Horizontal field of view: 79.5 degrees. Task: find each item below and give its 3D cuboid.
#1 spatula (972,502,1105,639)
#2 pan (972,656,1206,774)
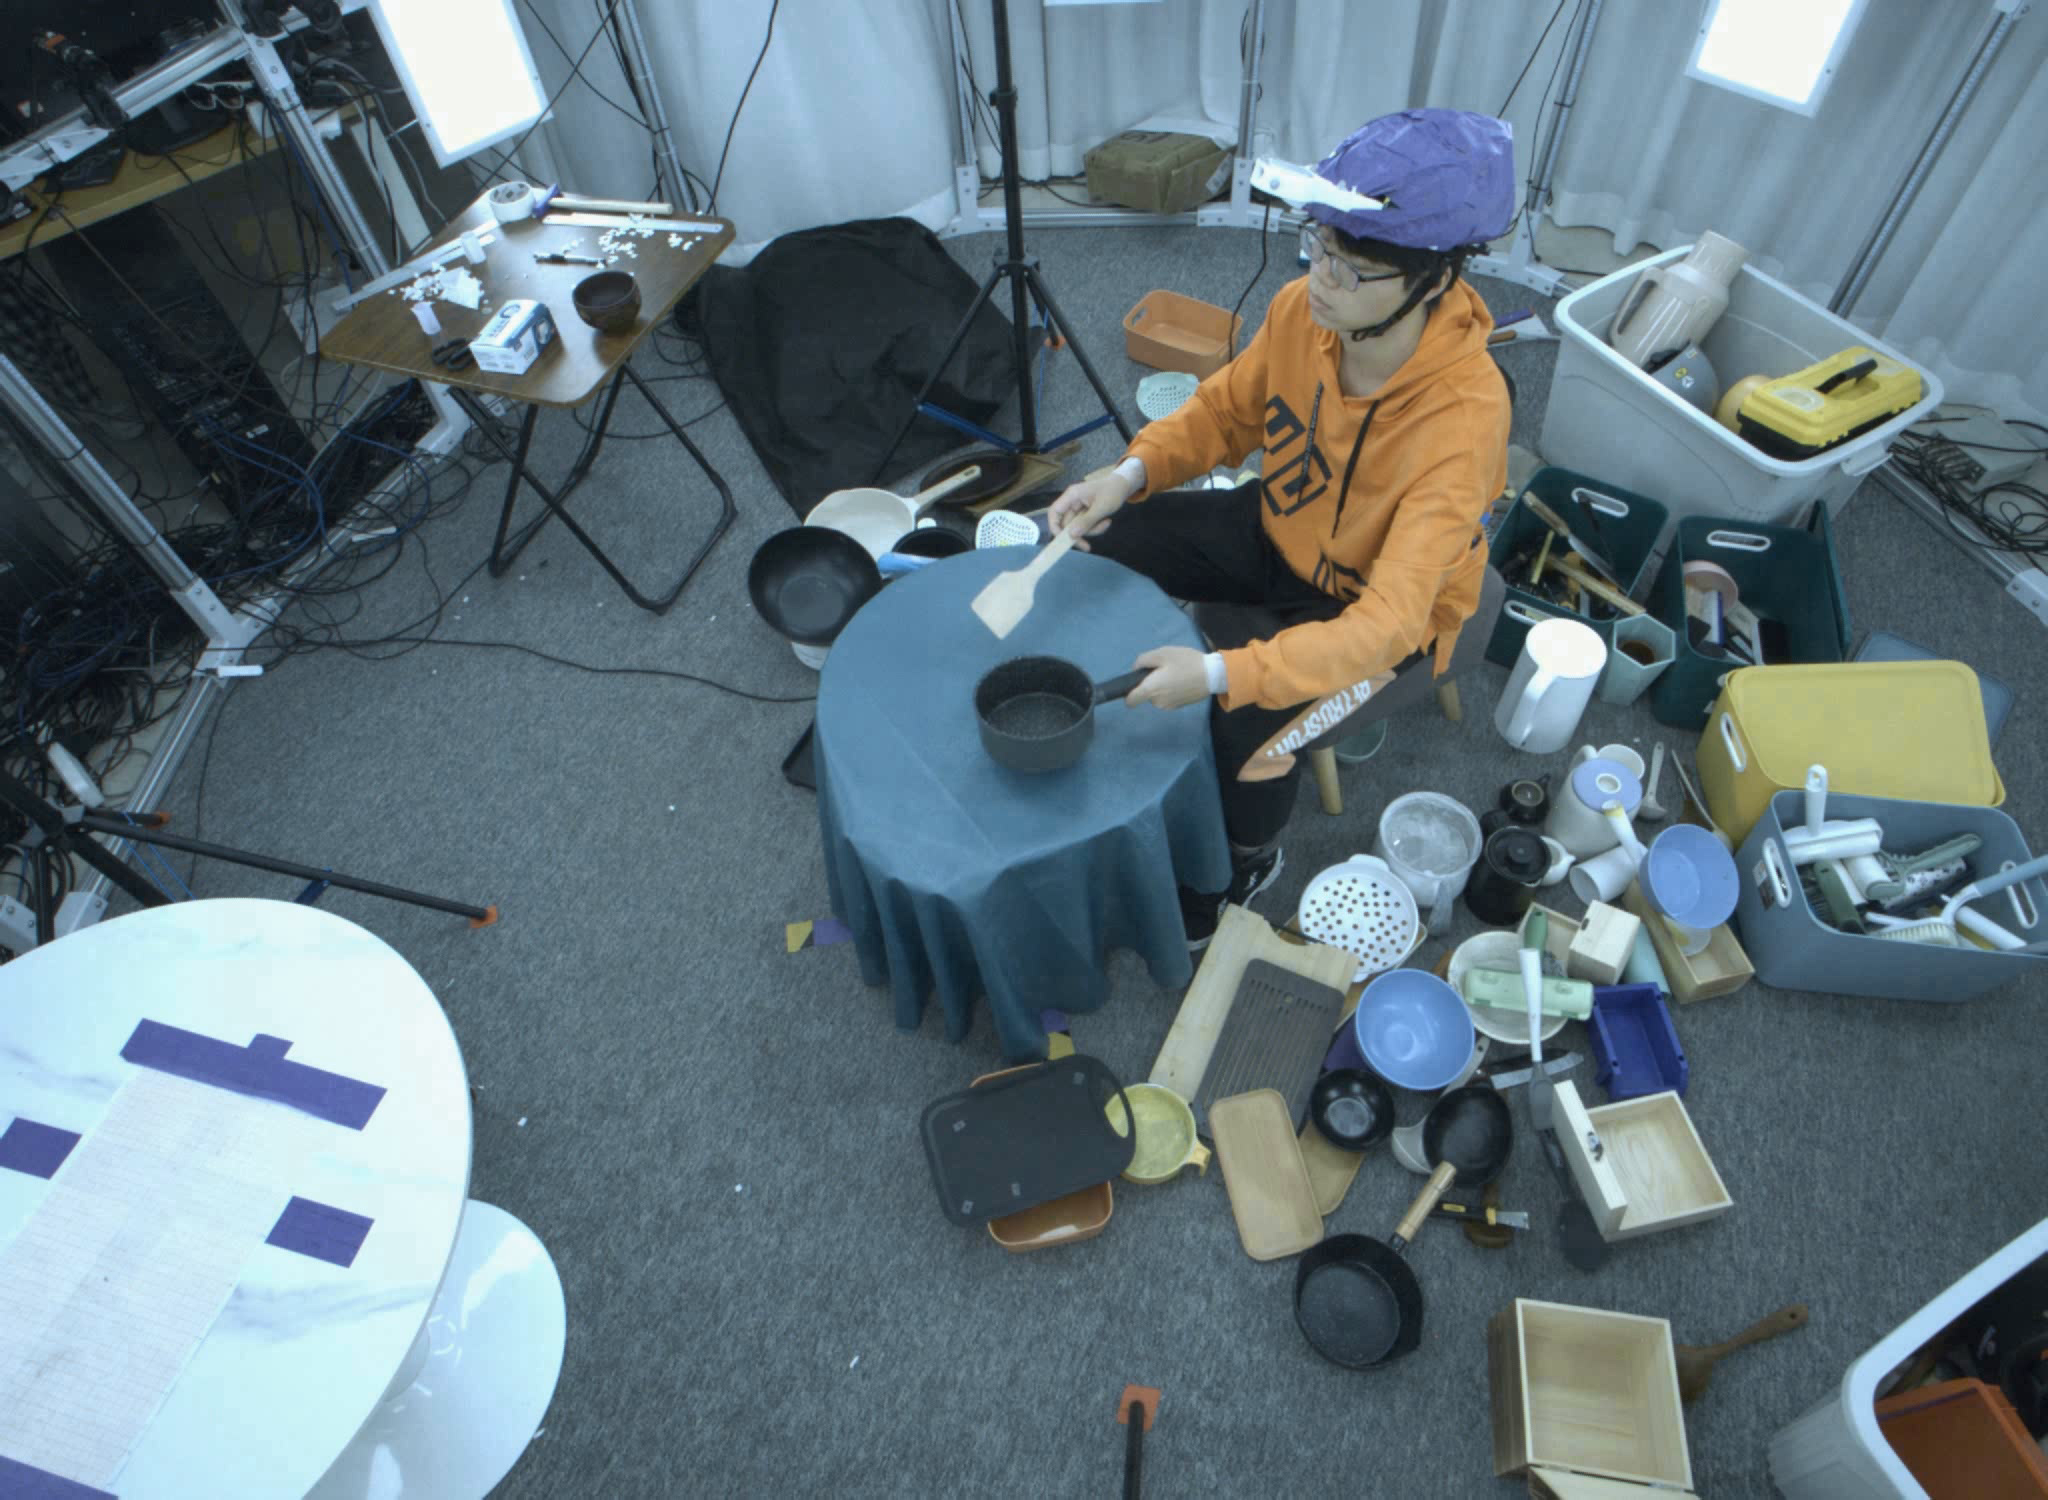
[{"bbox_3d":[0.031,-0.284,1.864,0.073,0.010,0.294,47,64,-11],"label":"spatula"},{"bbox_3d":[0.093,-0.065,1.729,0.330,0.087,0.169,-11,47,-6],"label":"pan"}]
